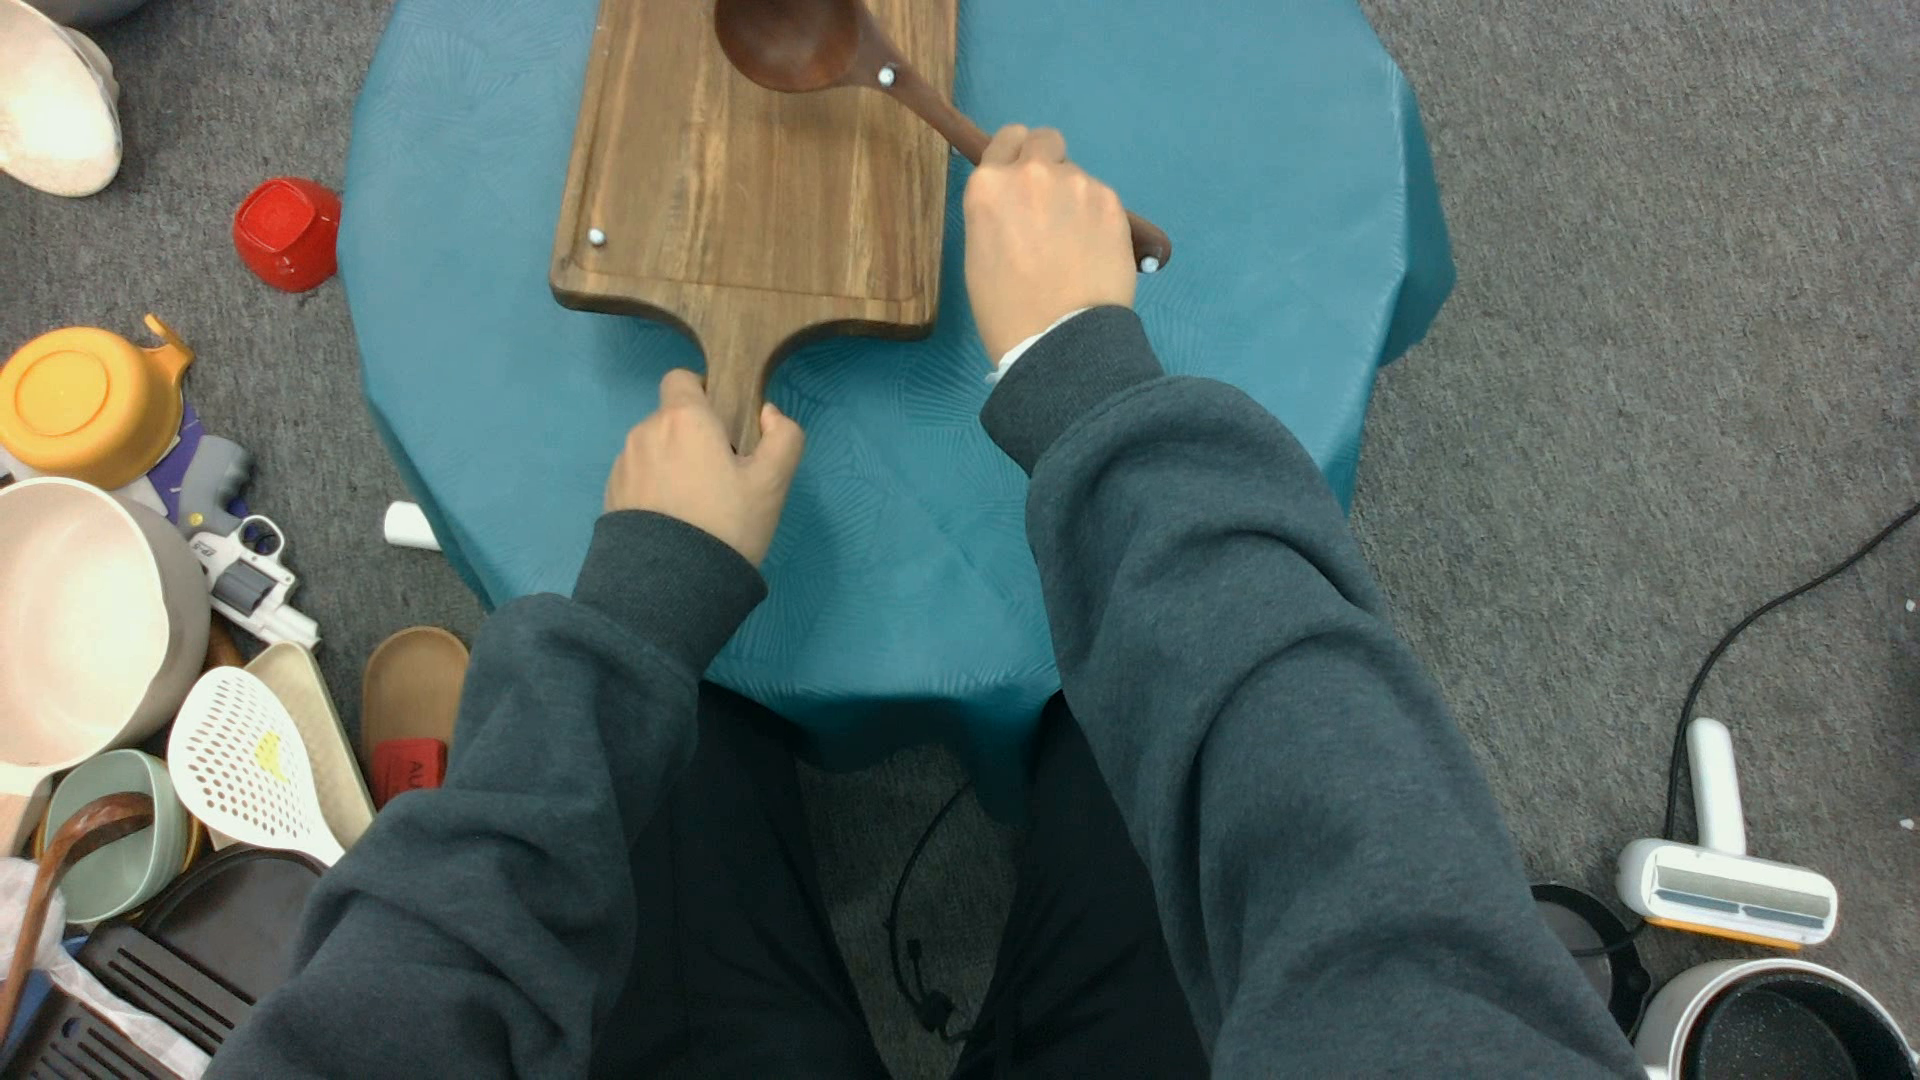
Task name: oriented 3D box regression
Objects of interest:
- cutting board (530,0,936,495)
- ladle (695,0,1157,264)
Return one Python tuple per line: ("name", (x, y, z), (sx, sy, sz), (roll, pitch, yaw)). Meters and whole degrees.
("cutting board", (-0.116, -0.187, 0.726), (0.201, 0.023, 0.353), (4, 67, -4))
("ladle", (-0.020, -0.206, 0.671), (0.260, 0.076, 0.065), (40, 46, 12))
